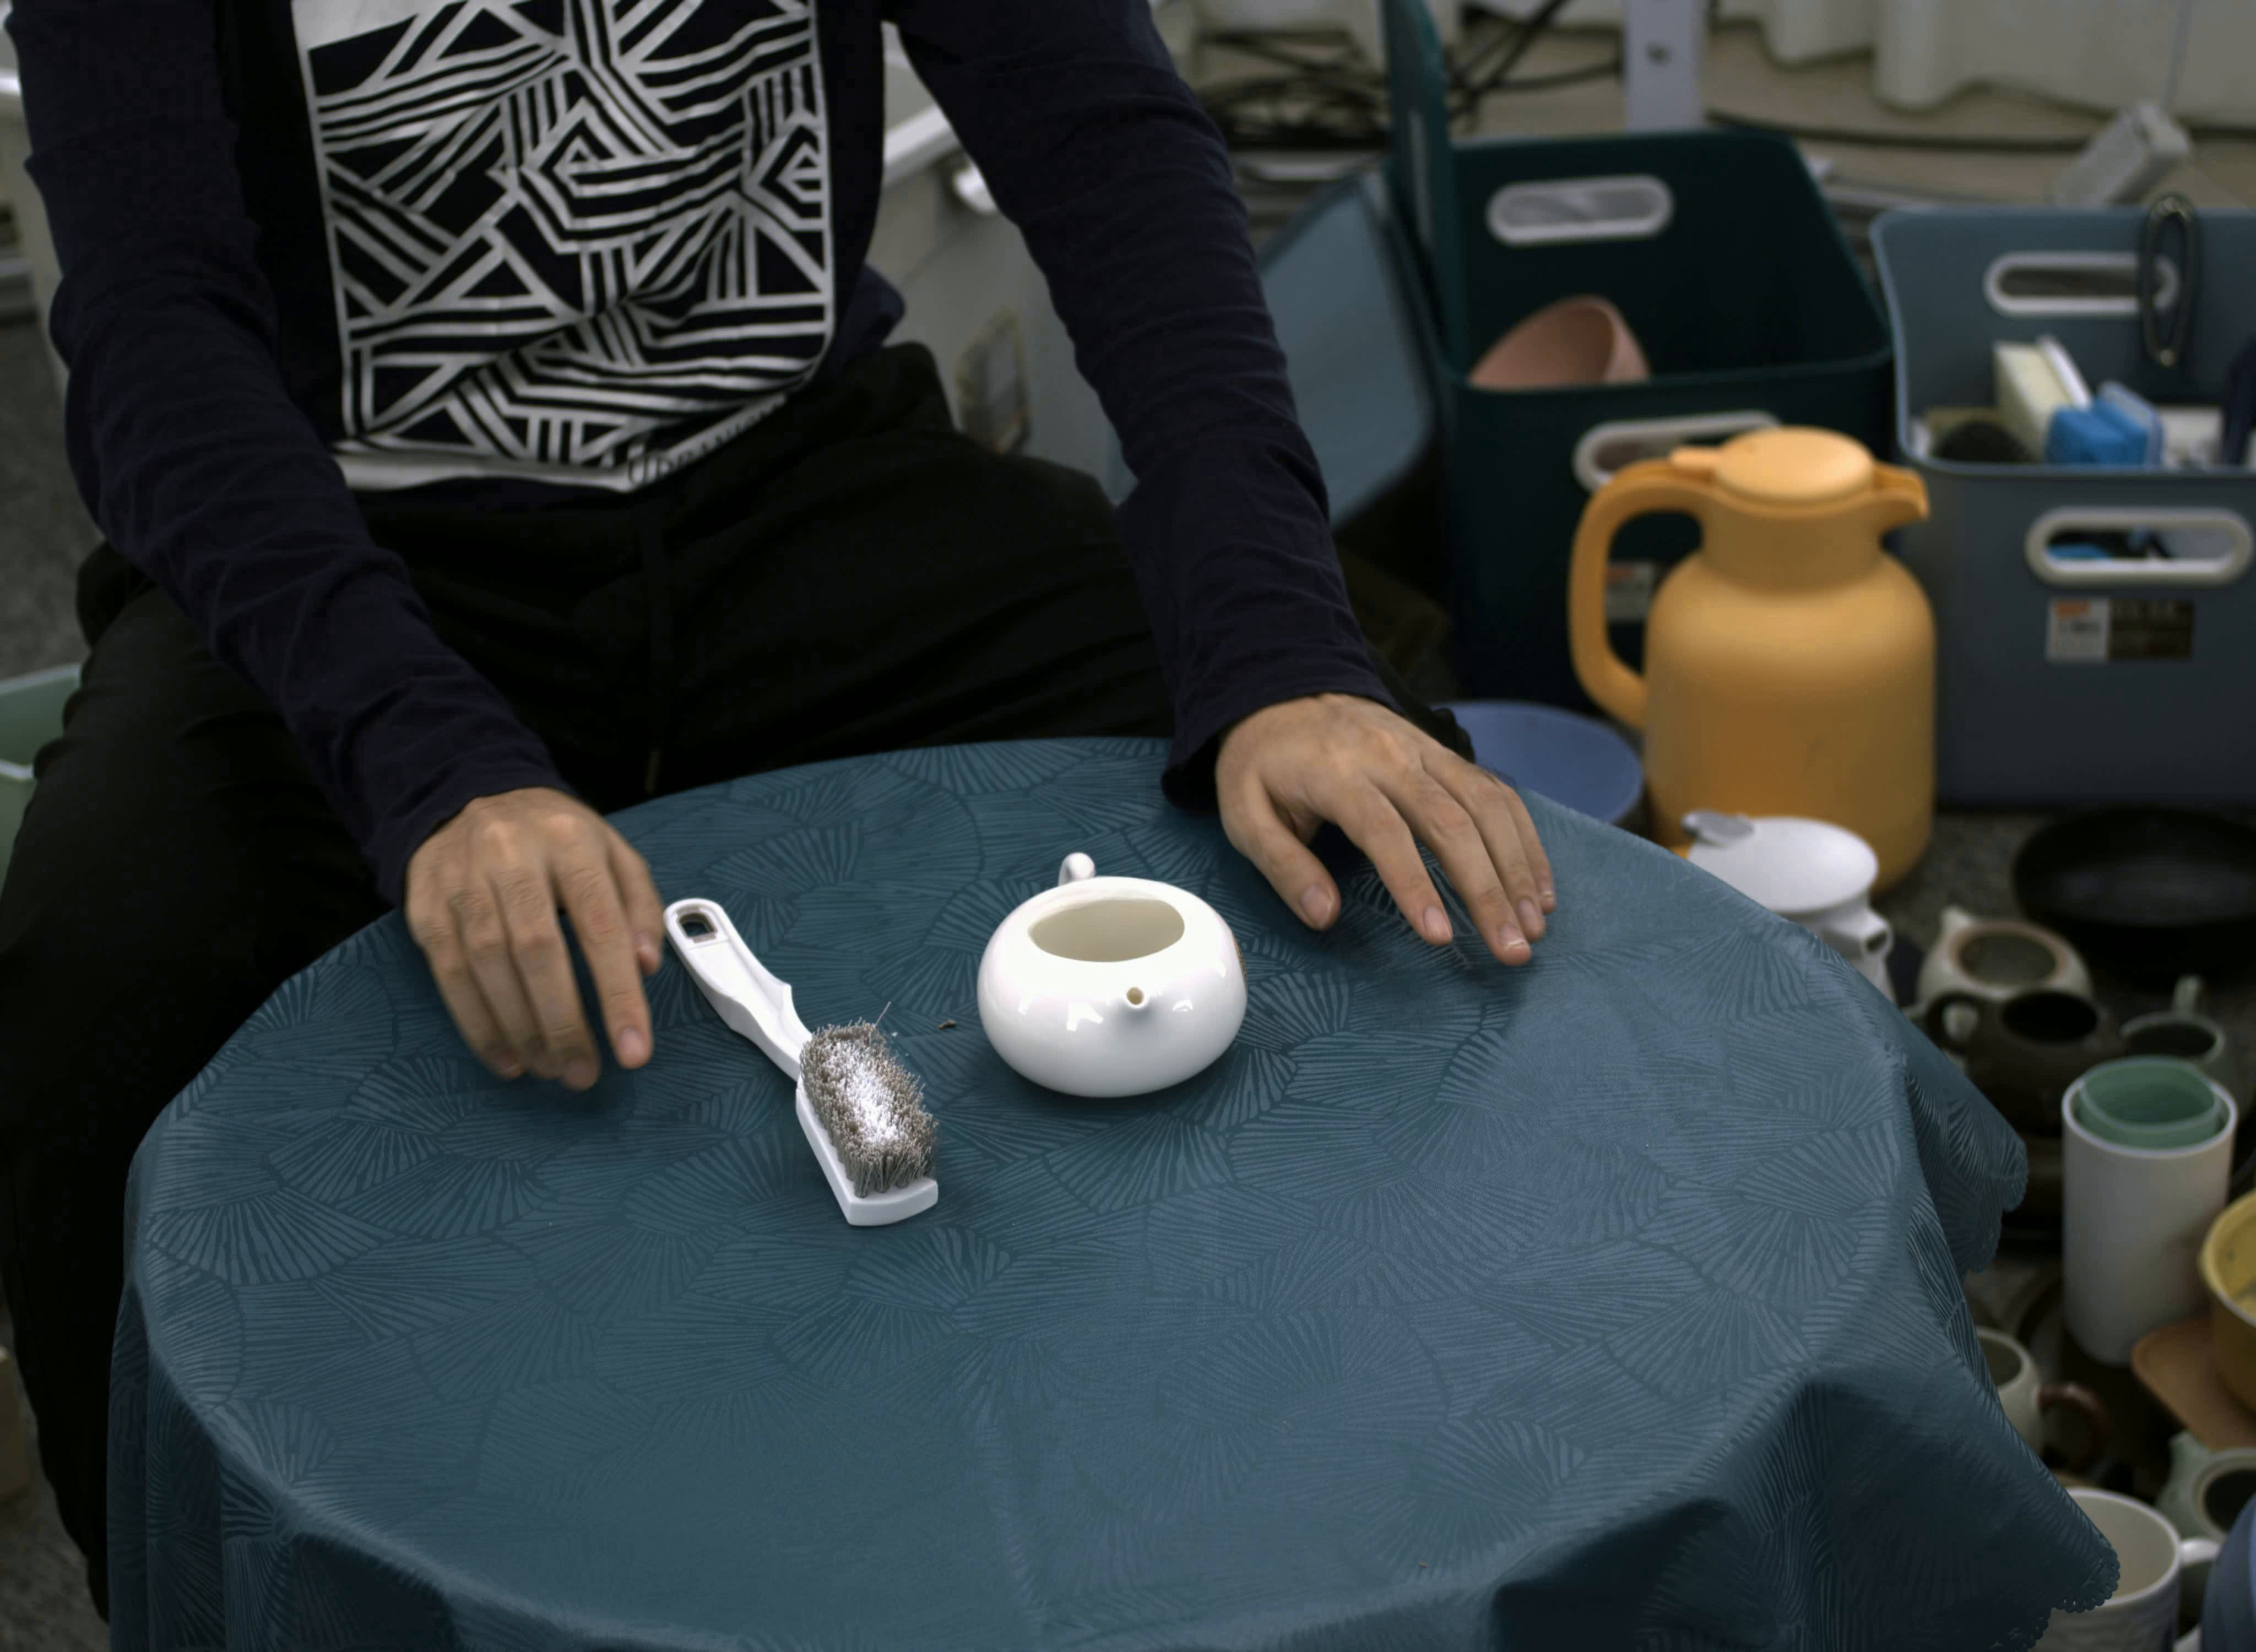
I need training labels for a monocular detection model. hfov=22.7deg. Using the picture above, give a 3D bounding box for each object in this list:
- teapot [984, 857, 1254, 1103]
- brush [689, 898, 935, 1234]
[{"bbox_3d":[-0.006,0.053,1.936,0.093,0.056,0.128,-14,27,-11],"label":"teapot"},{"bbox_3d":[-0.114,0.065,1.930,0.034,0.050,0.246,-15,29,-13],"label":"brush"}]
